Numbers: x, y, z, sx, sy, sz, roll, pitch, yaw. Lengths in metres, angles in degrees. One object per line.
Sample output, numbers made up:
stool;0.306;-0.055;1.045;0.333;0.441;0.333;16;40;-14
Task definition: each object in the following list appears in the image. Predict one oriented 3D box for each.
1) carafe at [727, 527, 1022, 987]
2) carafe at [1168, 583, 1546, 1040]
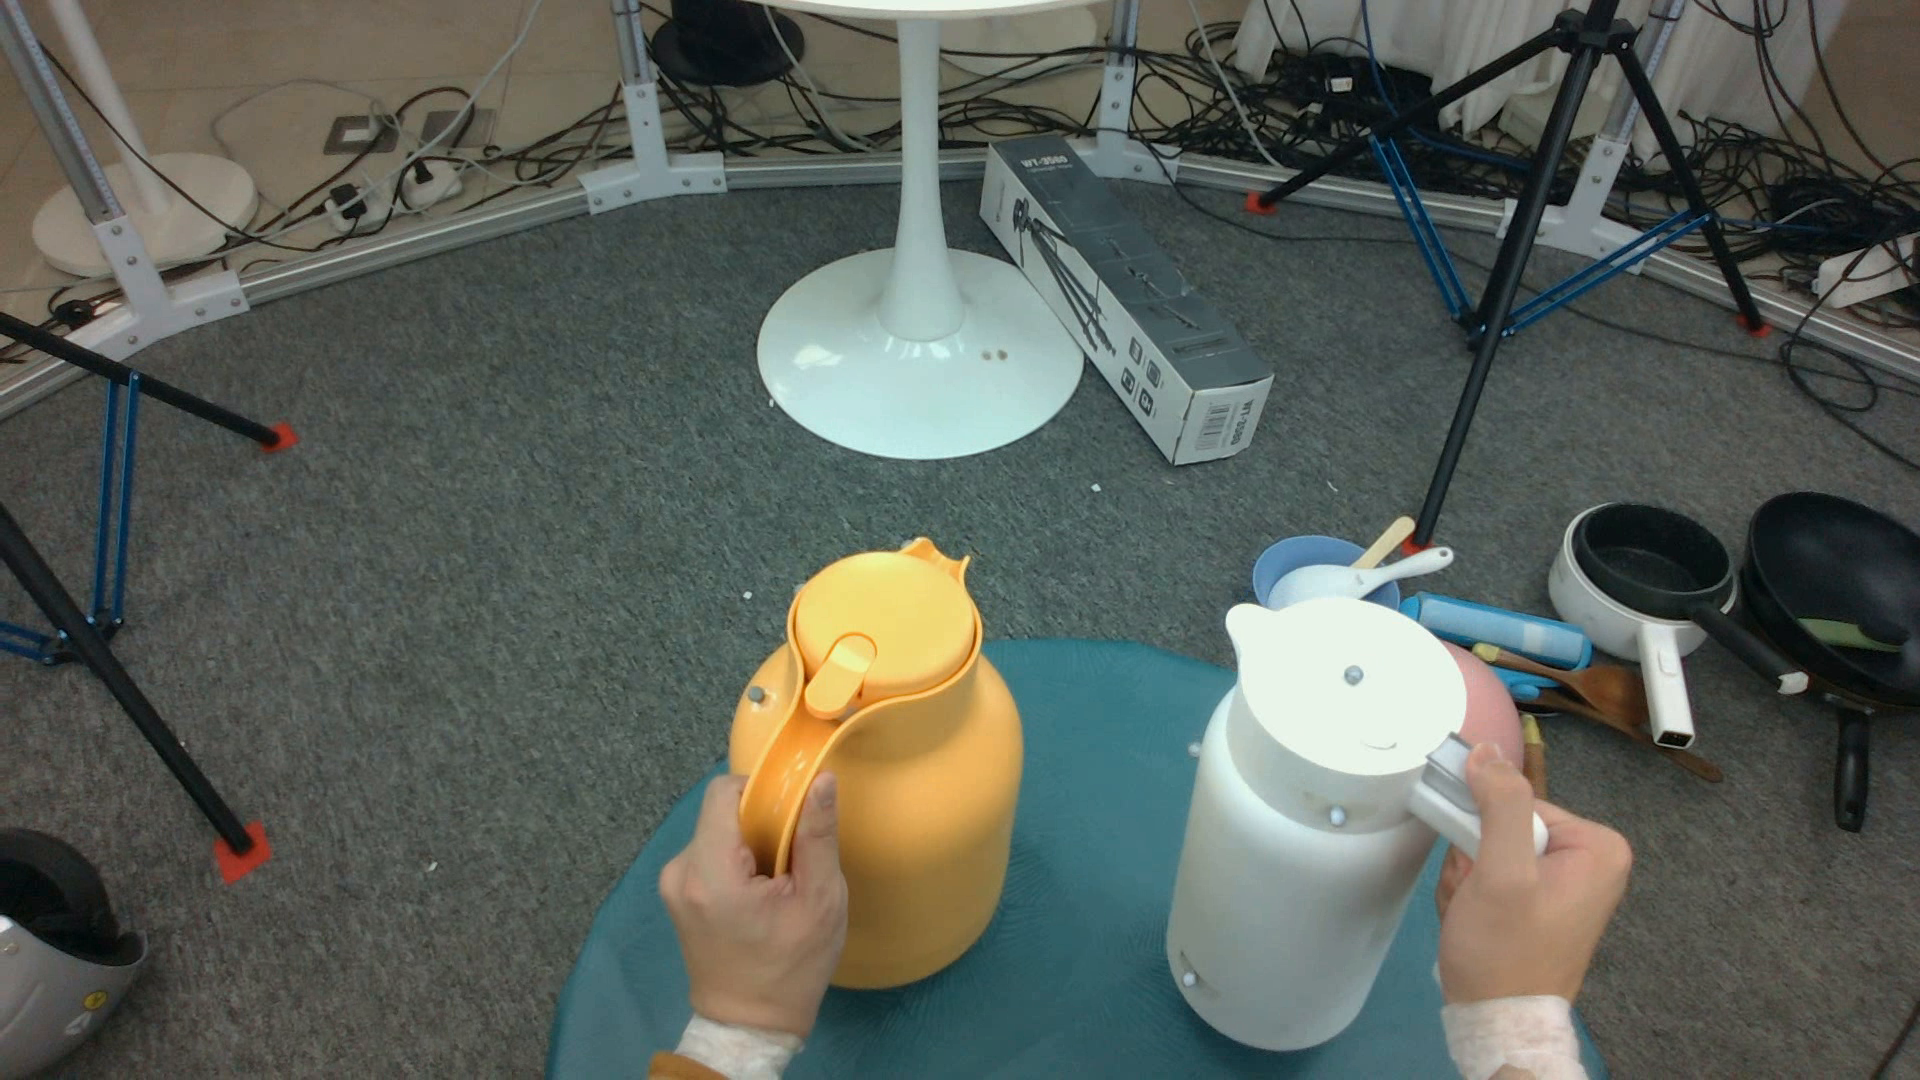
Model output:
carafe;-0.058;0.129;0.746;0.163;0.259;0.203;22;45;19
carafe;0.189;0.155;0.700;0.124;0.267;0.173;-33;54;-29
